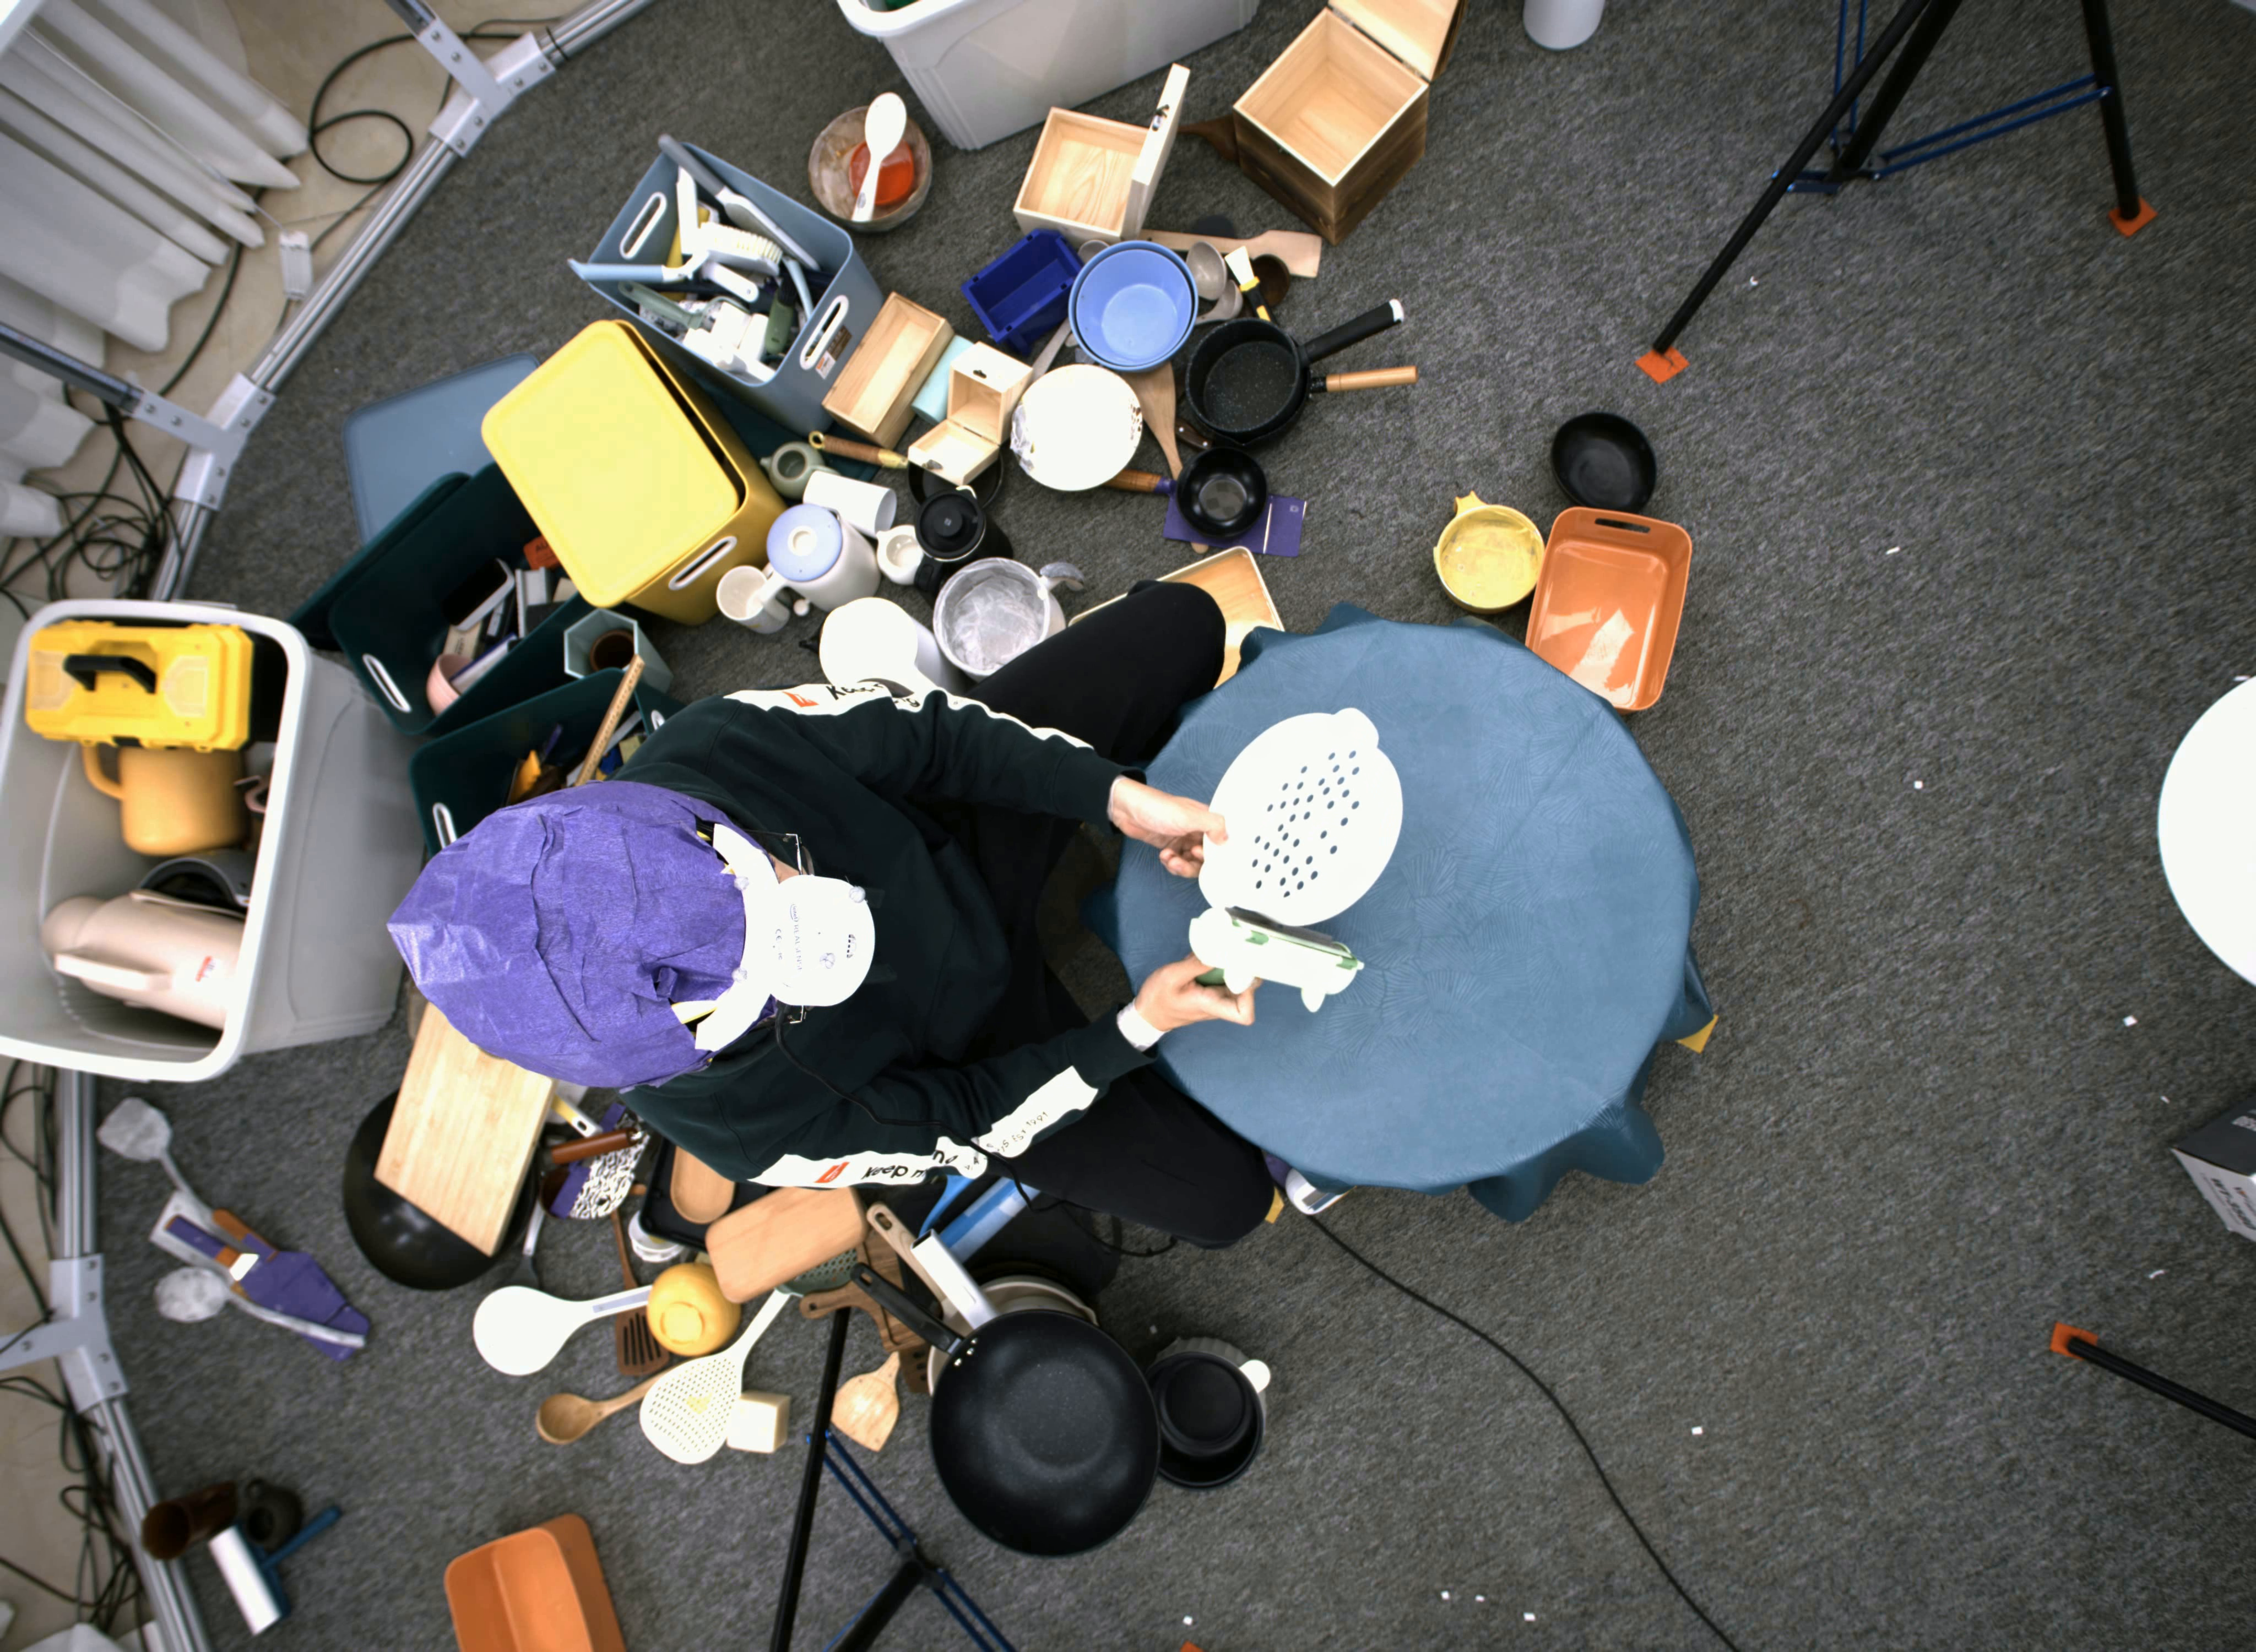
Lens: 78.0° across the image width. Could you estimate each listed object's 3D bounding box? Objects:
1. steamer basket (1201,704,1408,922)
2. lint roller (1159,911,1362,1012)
[{"bbox_3d":[0.169,-0.008,1.298,0.233,0.069,0.198,-49,41,15],"label":"steamer basket"},{"bbox_3d":[0.104,0.151,1.360,0.187,0.199,0.080,-31,57,36],"label":"lint roller"}]
